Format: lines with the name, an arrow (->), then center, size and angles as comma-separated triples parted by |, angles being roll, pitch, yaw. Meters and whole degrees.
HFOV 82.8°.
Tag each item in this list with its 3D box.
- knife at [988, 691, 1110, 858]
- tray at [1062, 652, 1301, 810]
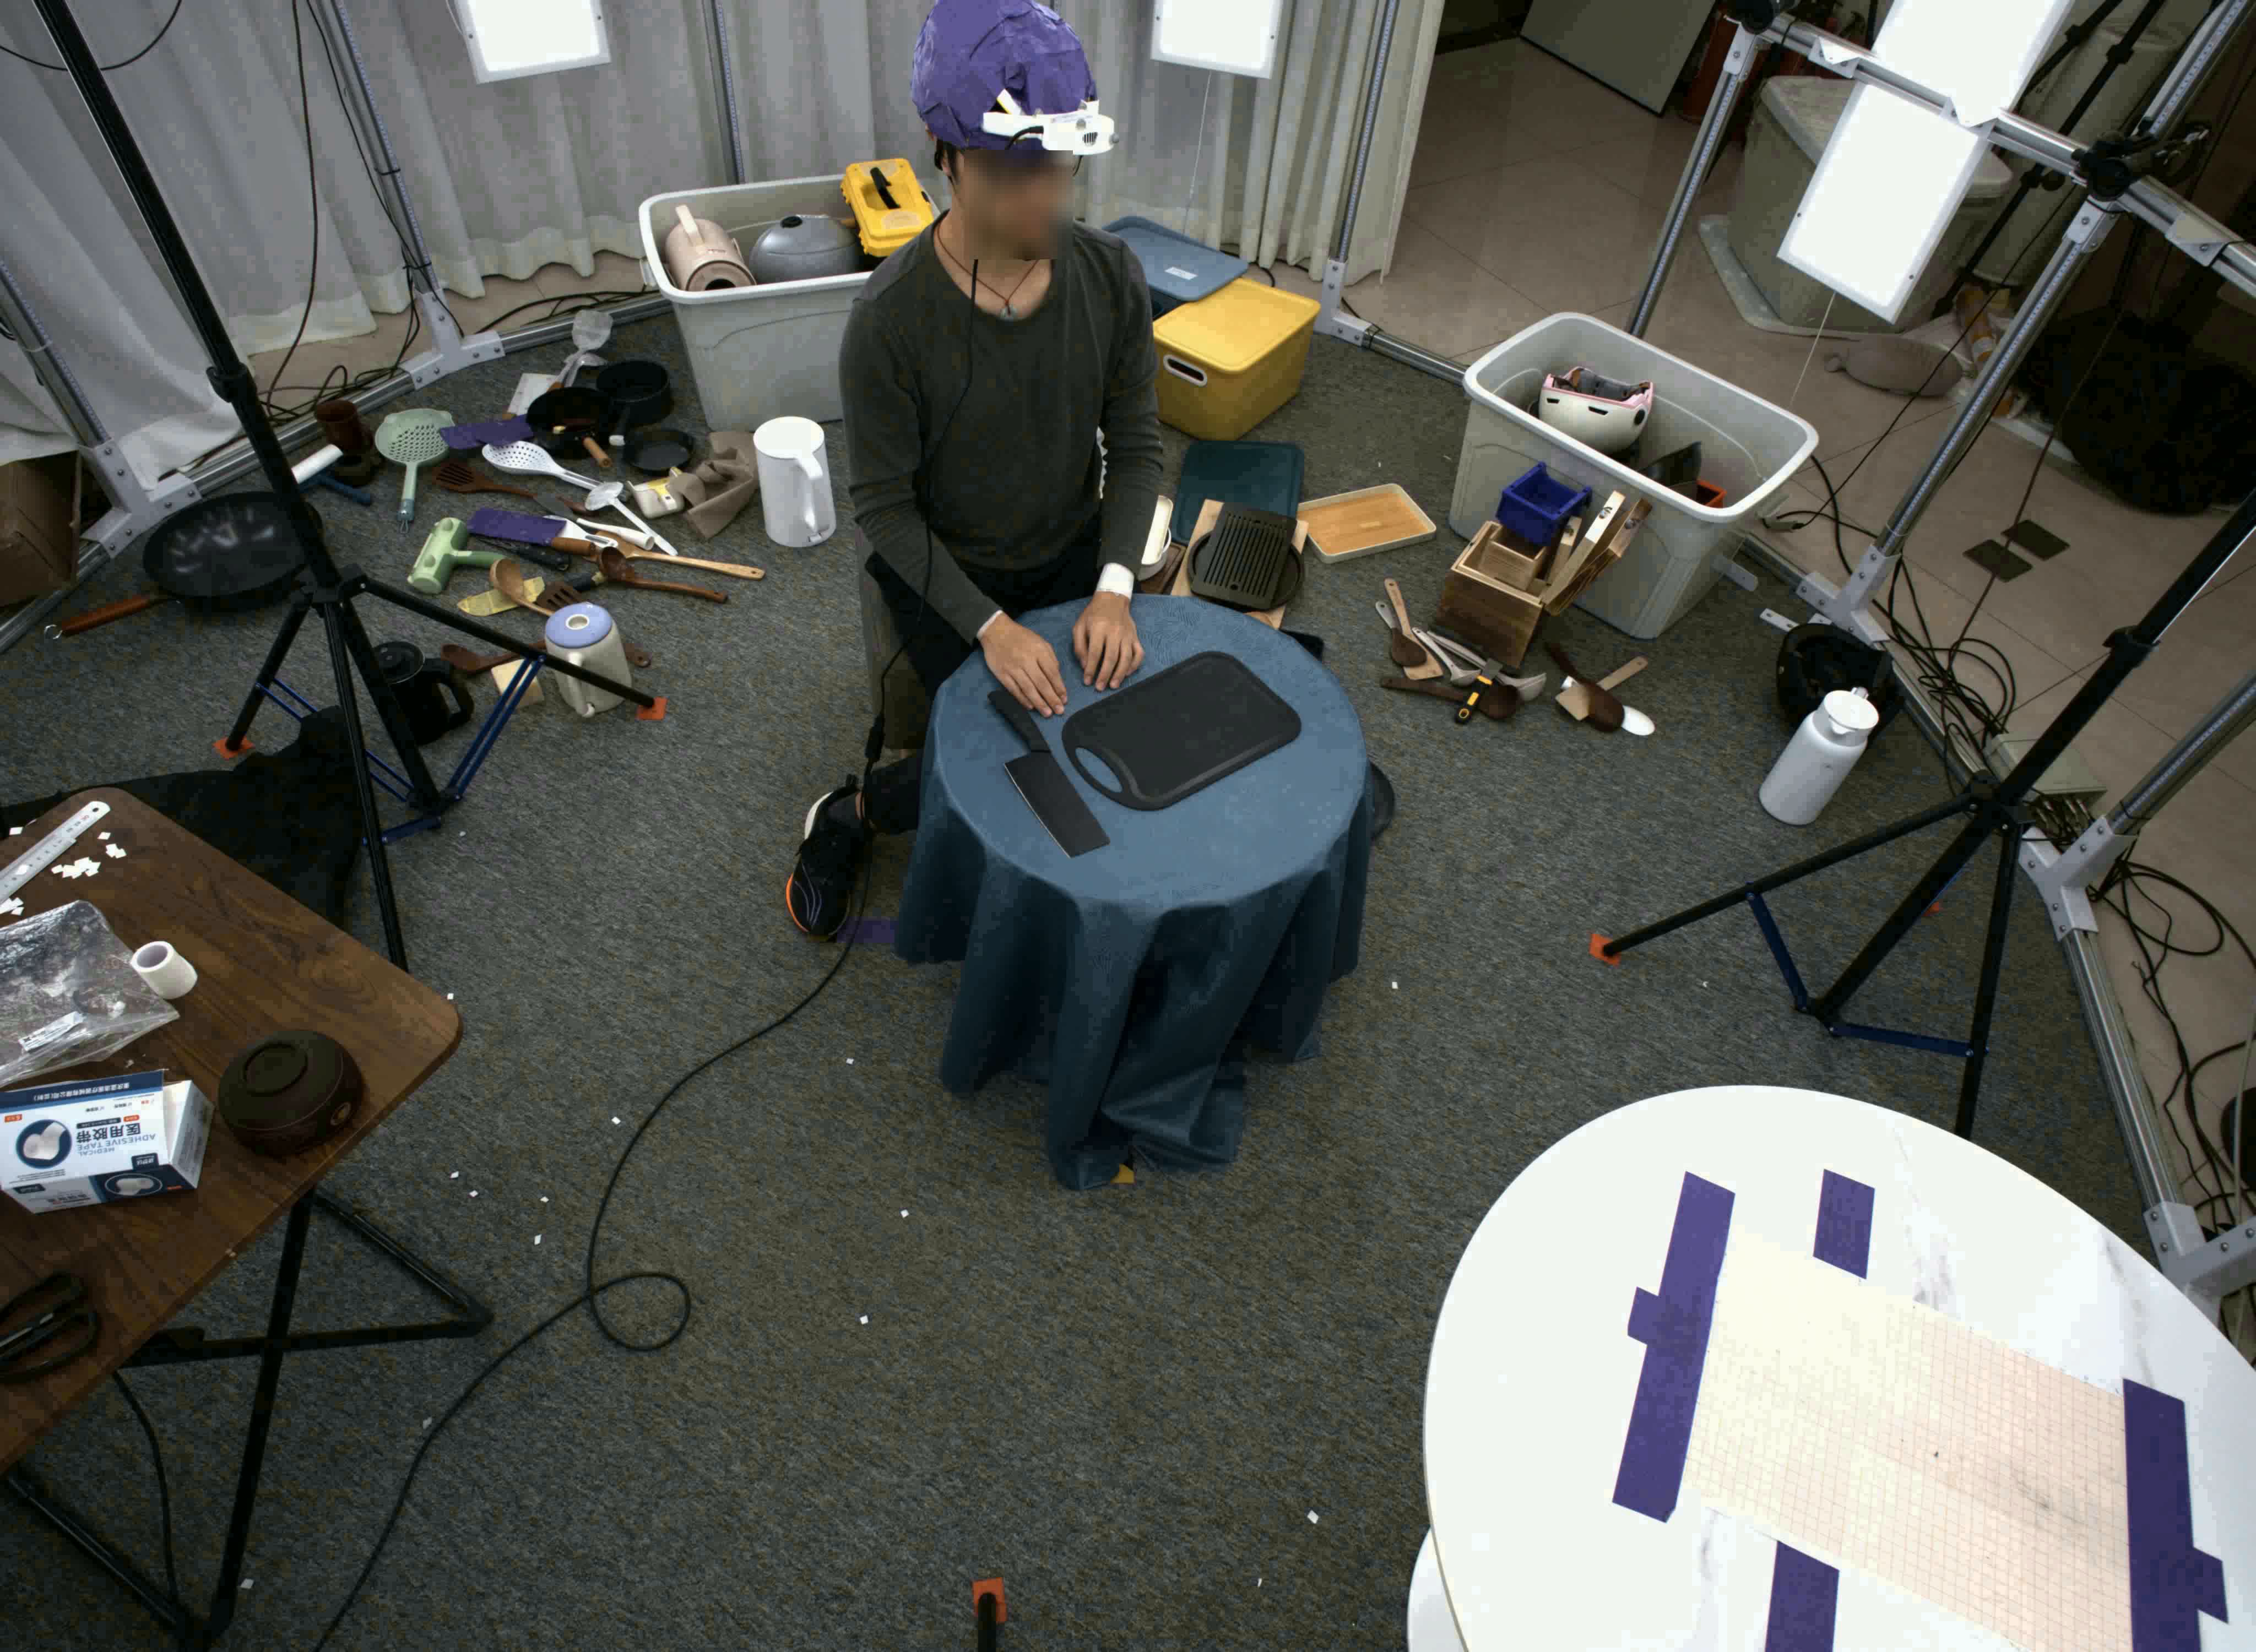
knife -> -0.119, -0.075, 1.716 | 0.081, 0.020, 0.309 | -18, 54, -17
tray -> 0.070, -0.136, 1.786 | 0.327, 0.009, 0.215 | -27, 56, -25
